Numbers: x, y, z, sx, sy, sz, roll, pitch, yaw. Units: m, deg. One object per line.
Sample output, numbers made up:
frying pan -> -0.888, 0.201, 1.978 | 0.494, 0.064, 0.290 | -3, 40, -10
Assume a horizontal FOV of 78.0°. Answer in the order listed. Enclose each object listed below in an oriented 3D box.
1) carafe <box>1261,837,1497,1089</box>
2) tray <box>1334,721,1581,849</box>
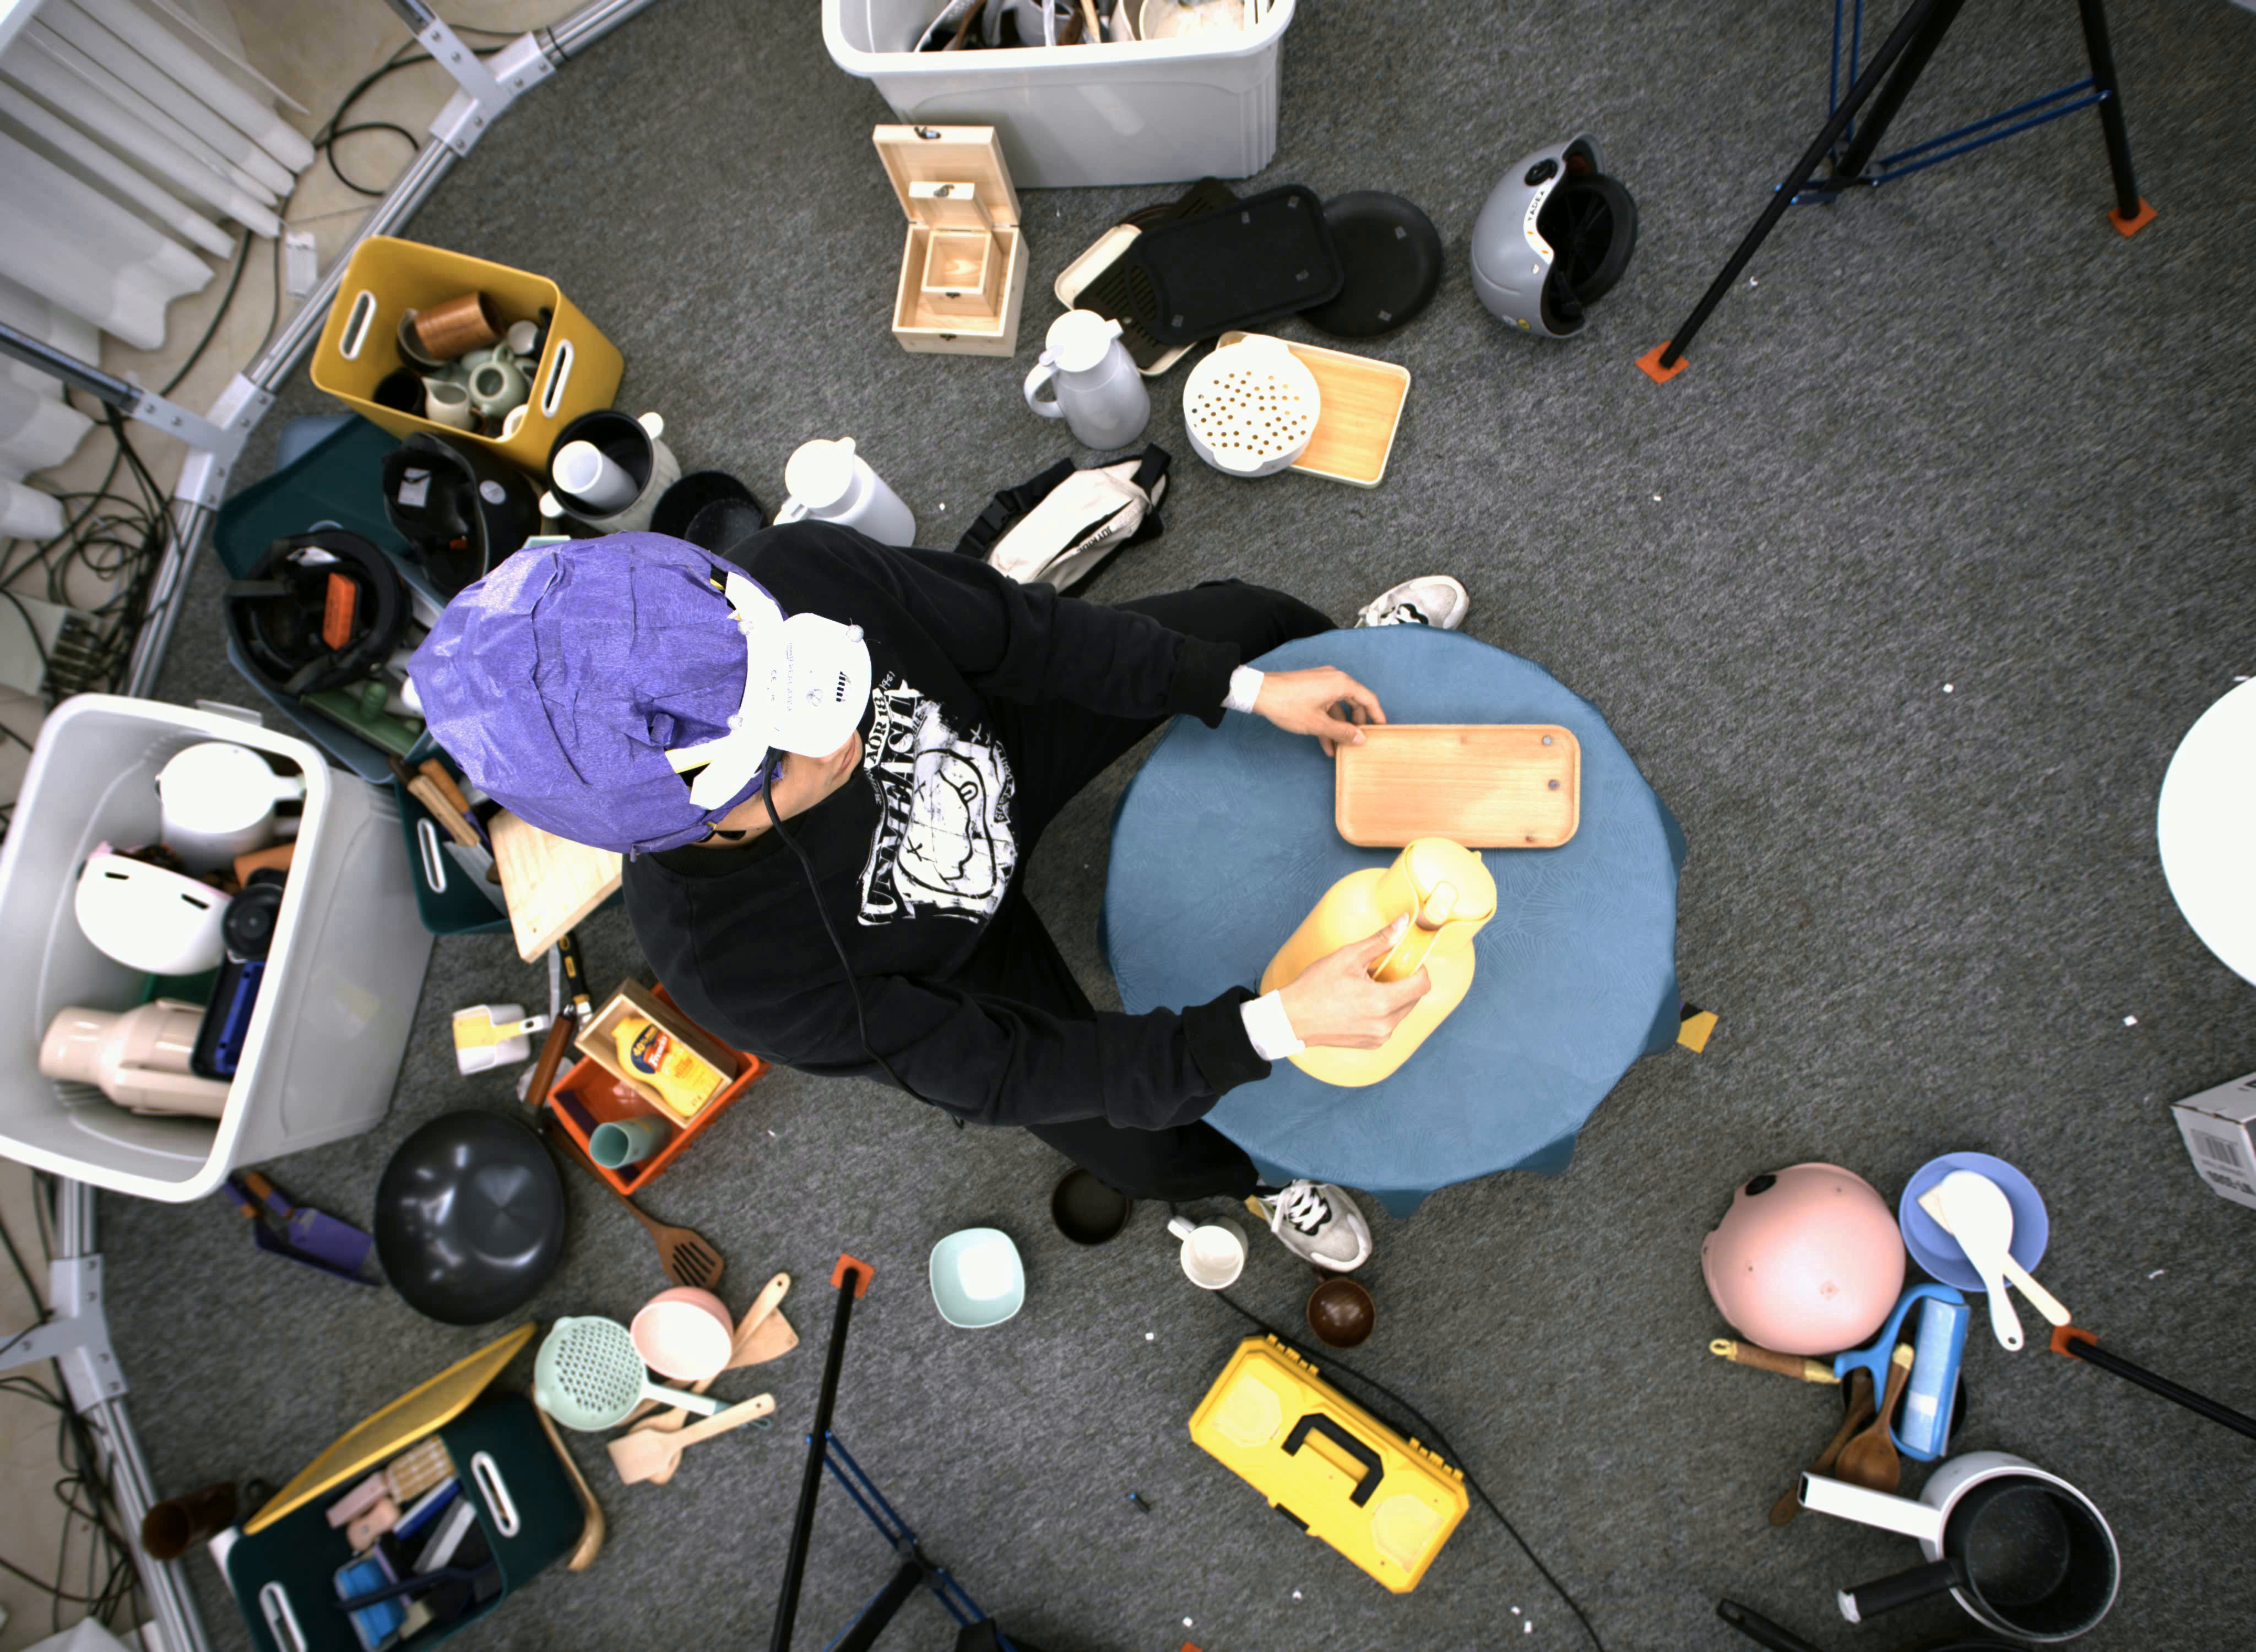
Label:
carafe -> 0.234, 0.131, 1.296 | 0.163, 0.197, 0.267 | 36, 132, 8
tray -> 0.340, -0.045, 1.427 | 0.251, 0.023, 0.131 | 2, 95, 7
